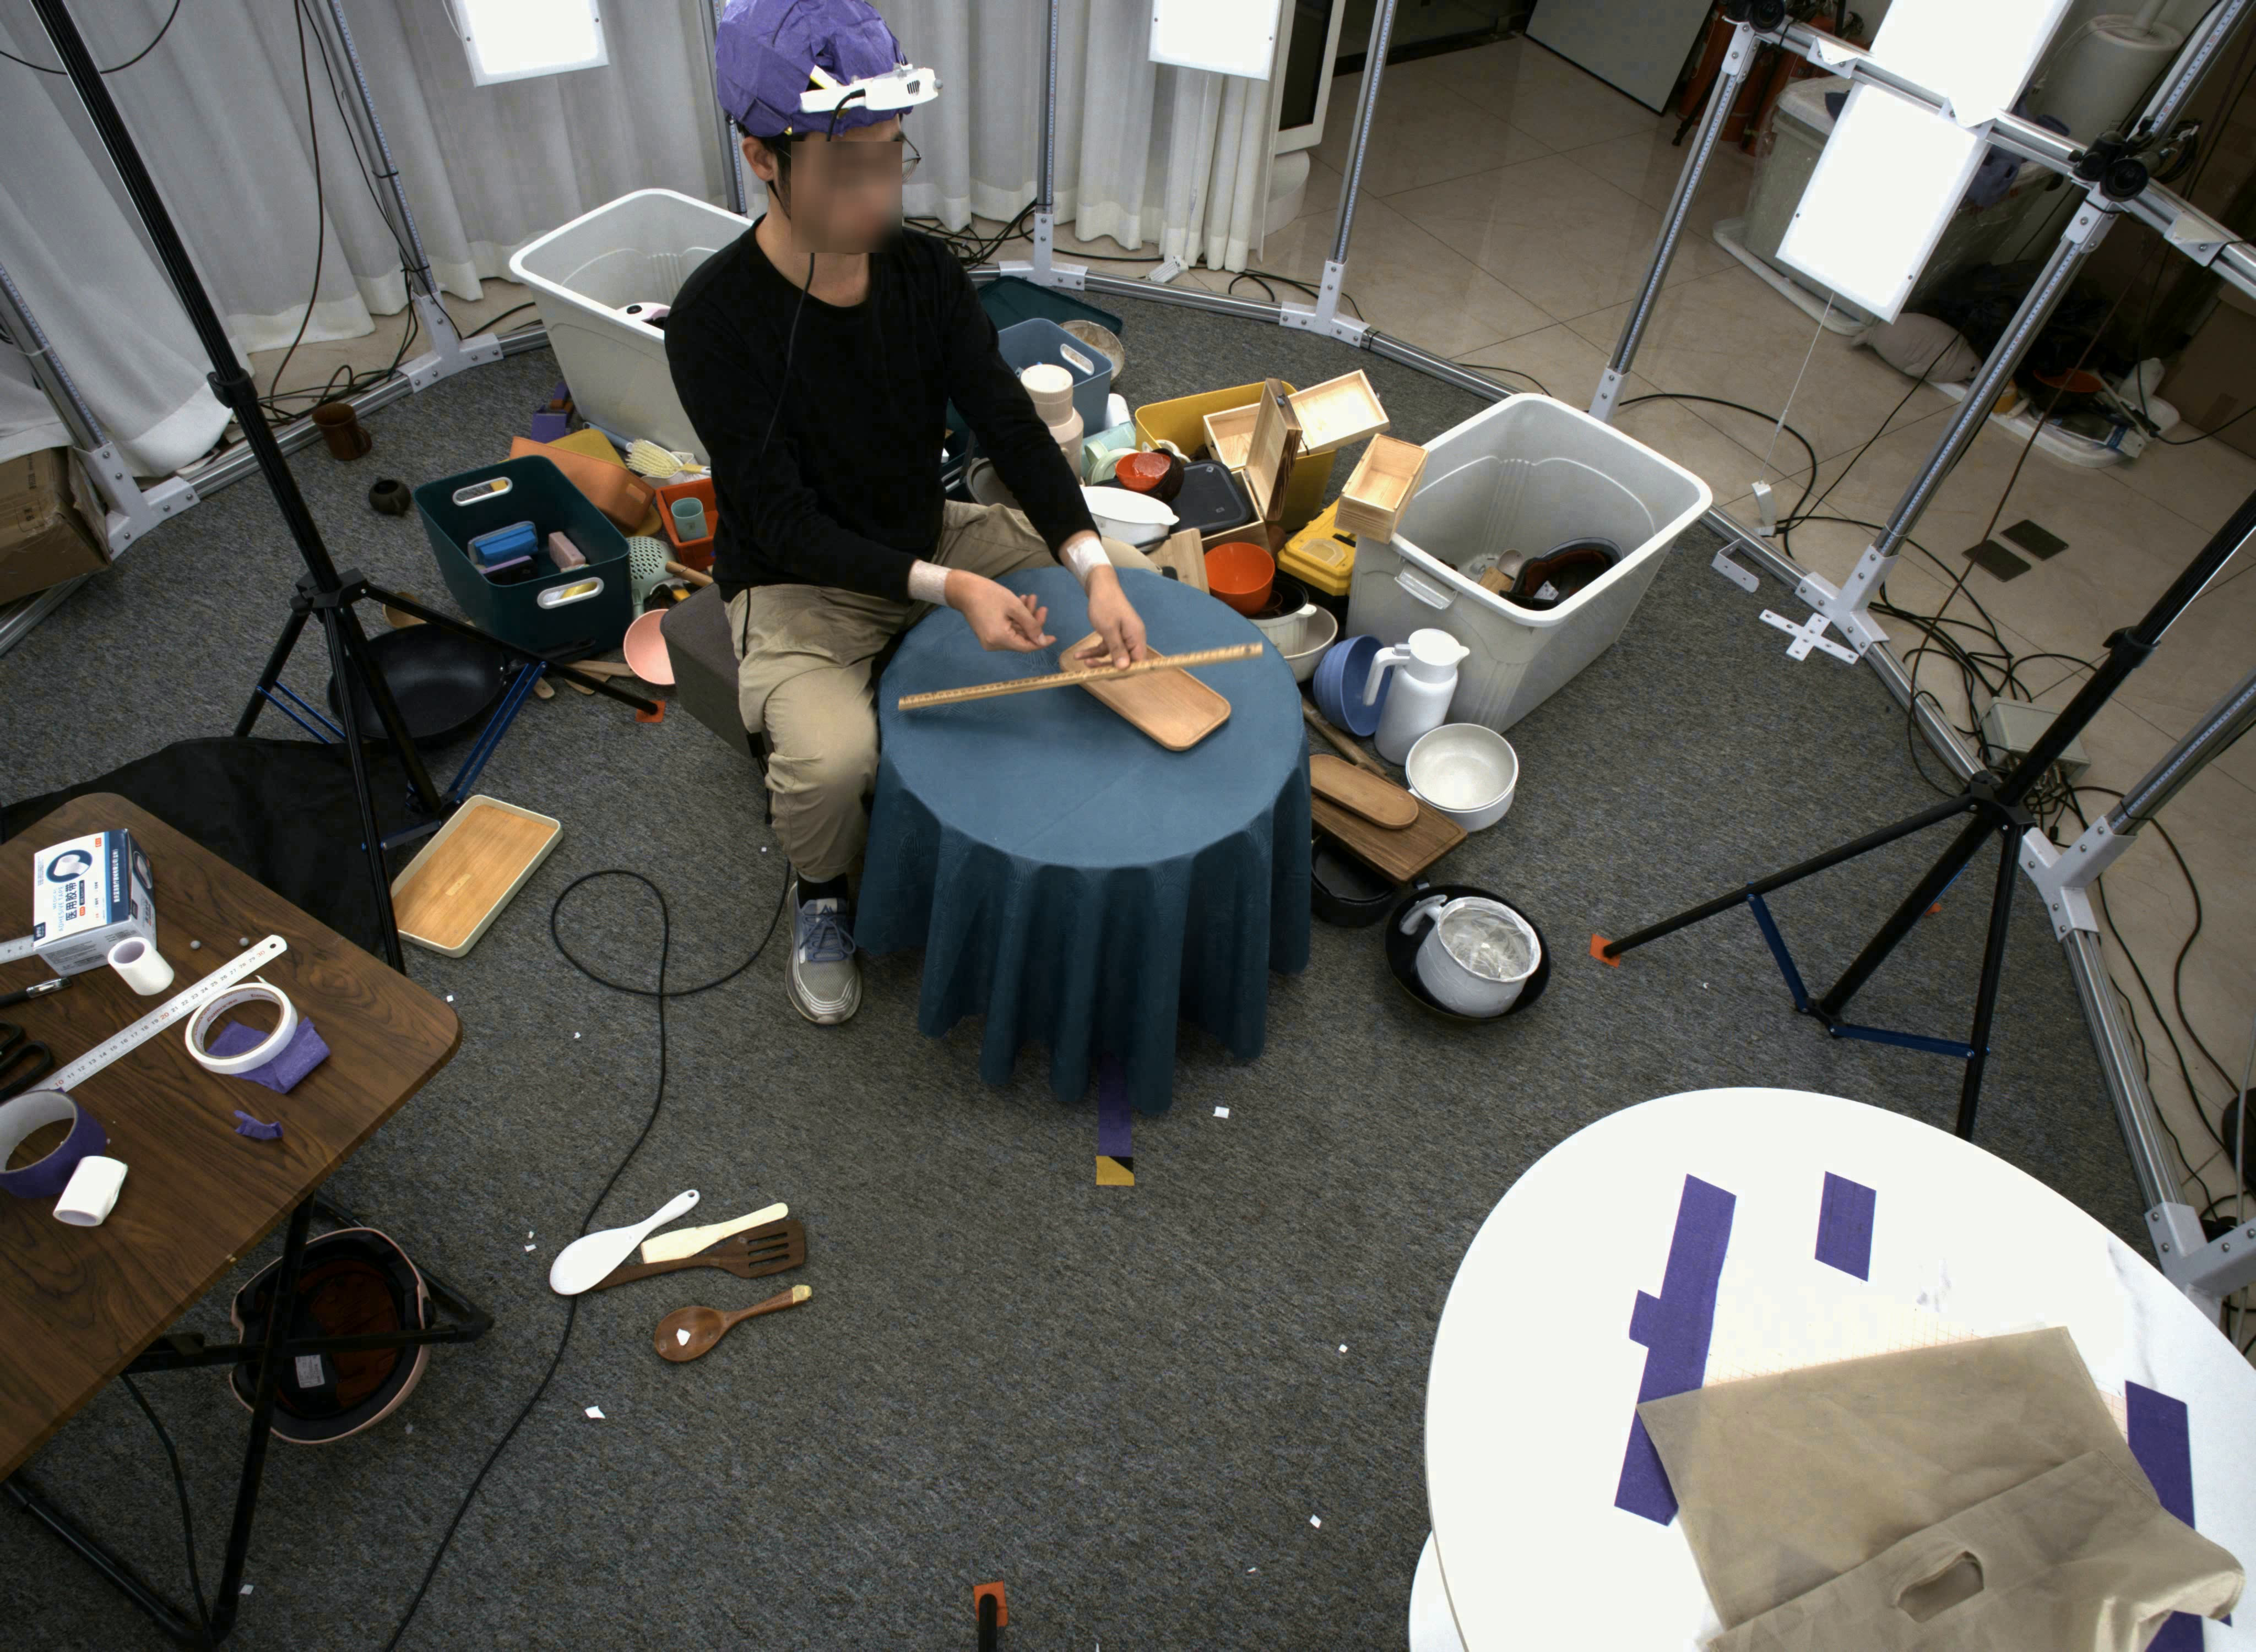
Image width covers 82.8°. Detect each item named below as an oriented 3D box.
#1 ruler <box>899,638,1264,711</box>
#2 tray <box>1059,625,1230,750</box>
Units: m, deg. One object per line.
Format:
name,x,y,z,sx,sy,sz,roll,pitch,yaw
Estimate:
ruler,-0.065,-0.205,1.736,0.500,0.006,0.027,-9,39,5
tray,0.022,-0.200,1.835,0.132,0.022,0.254,-34,58,-31
